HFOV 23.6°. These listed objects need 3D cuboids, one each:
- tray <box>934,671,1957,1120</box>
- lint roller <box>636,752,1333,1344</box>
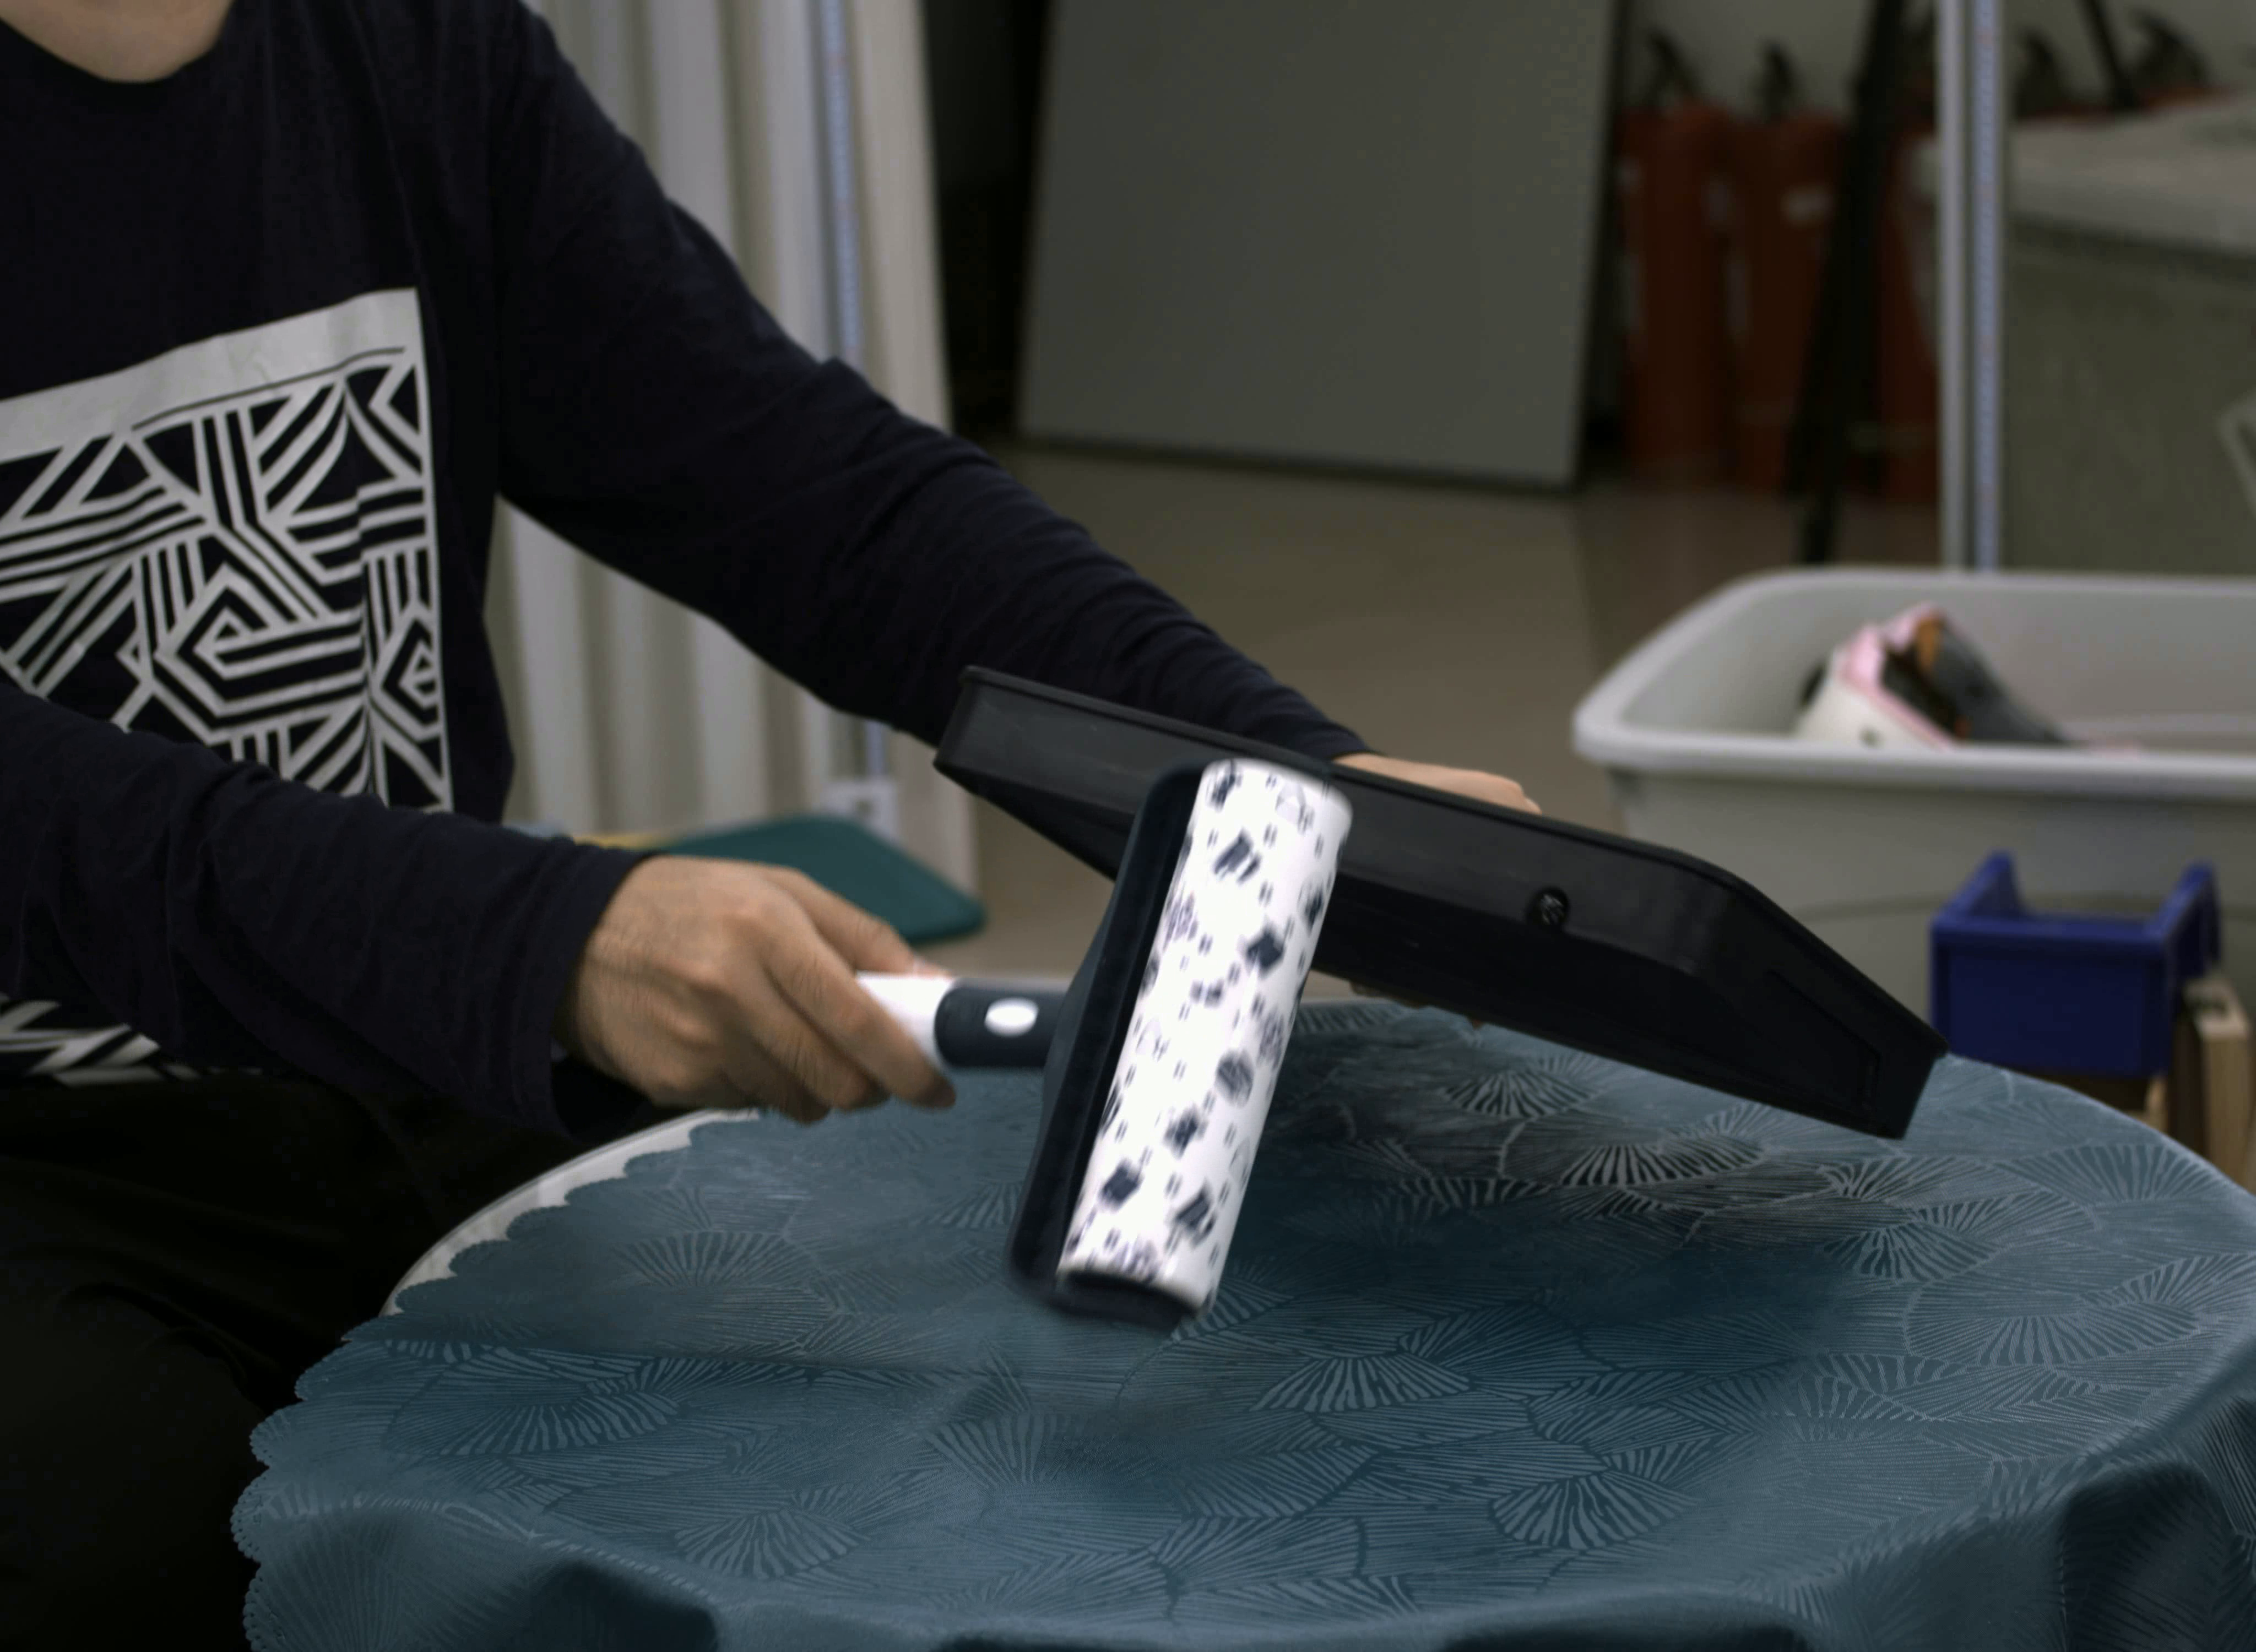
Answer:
[{"bbox_3d":[0.099,0.022,1.748,0.320,0.037,0.181,13,-14,39],"label":"tray"},{"bbox_3d":[-0.060,0.062,1.627,0.249,0.178,0.049,1,-24,38],"label":"lint roller"}]
